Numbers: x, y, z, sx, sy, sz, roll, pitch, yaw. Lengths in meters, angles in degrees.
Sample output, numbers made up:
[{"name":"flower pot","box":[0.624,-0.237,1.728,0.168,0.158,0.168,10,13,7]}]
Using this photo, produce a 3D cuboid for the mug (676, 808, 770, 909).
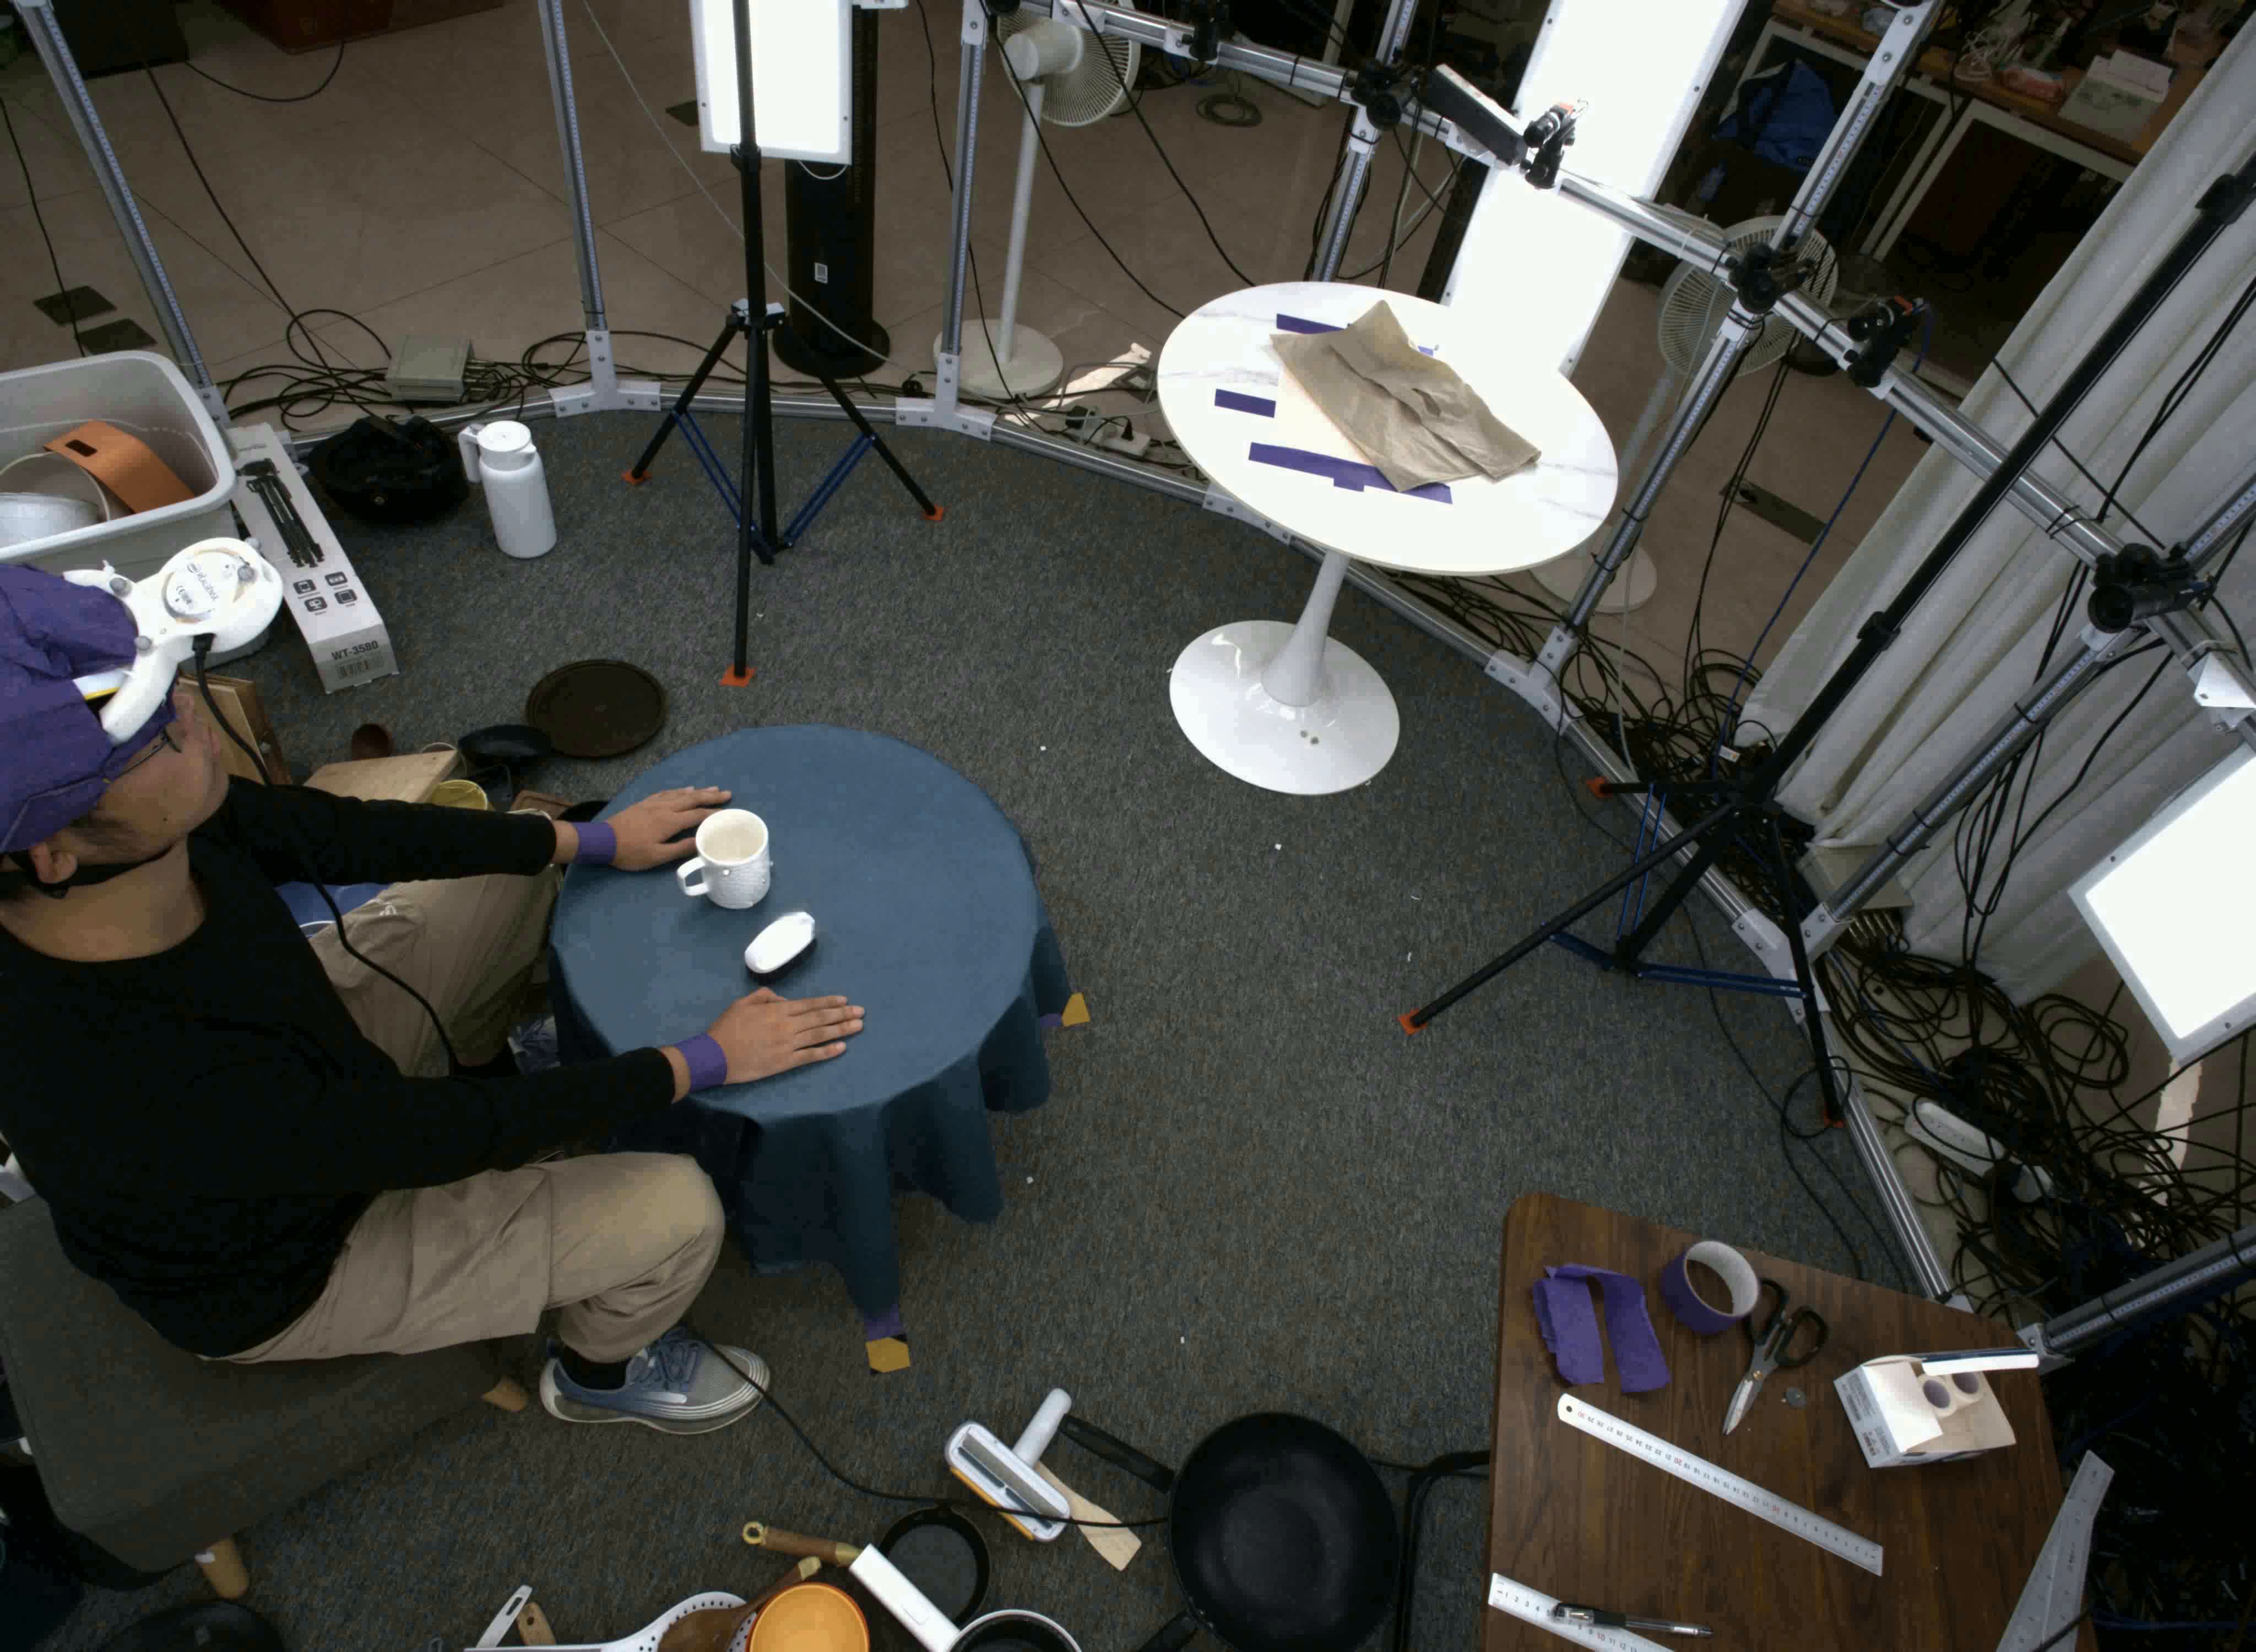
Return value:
[{"name":"mug","box":[-0.504,0.048,1.605,0.118,0.104,0.083,-32,65,-30]}]

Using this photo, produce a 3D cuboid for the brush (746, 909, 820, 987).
[{"name":"brush","box":[-0.422,0.139,1.577,0.049,0.074,0.099,37,53,19]}]
